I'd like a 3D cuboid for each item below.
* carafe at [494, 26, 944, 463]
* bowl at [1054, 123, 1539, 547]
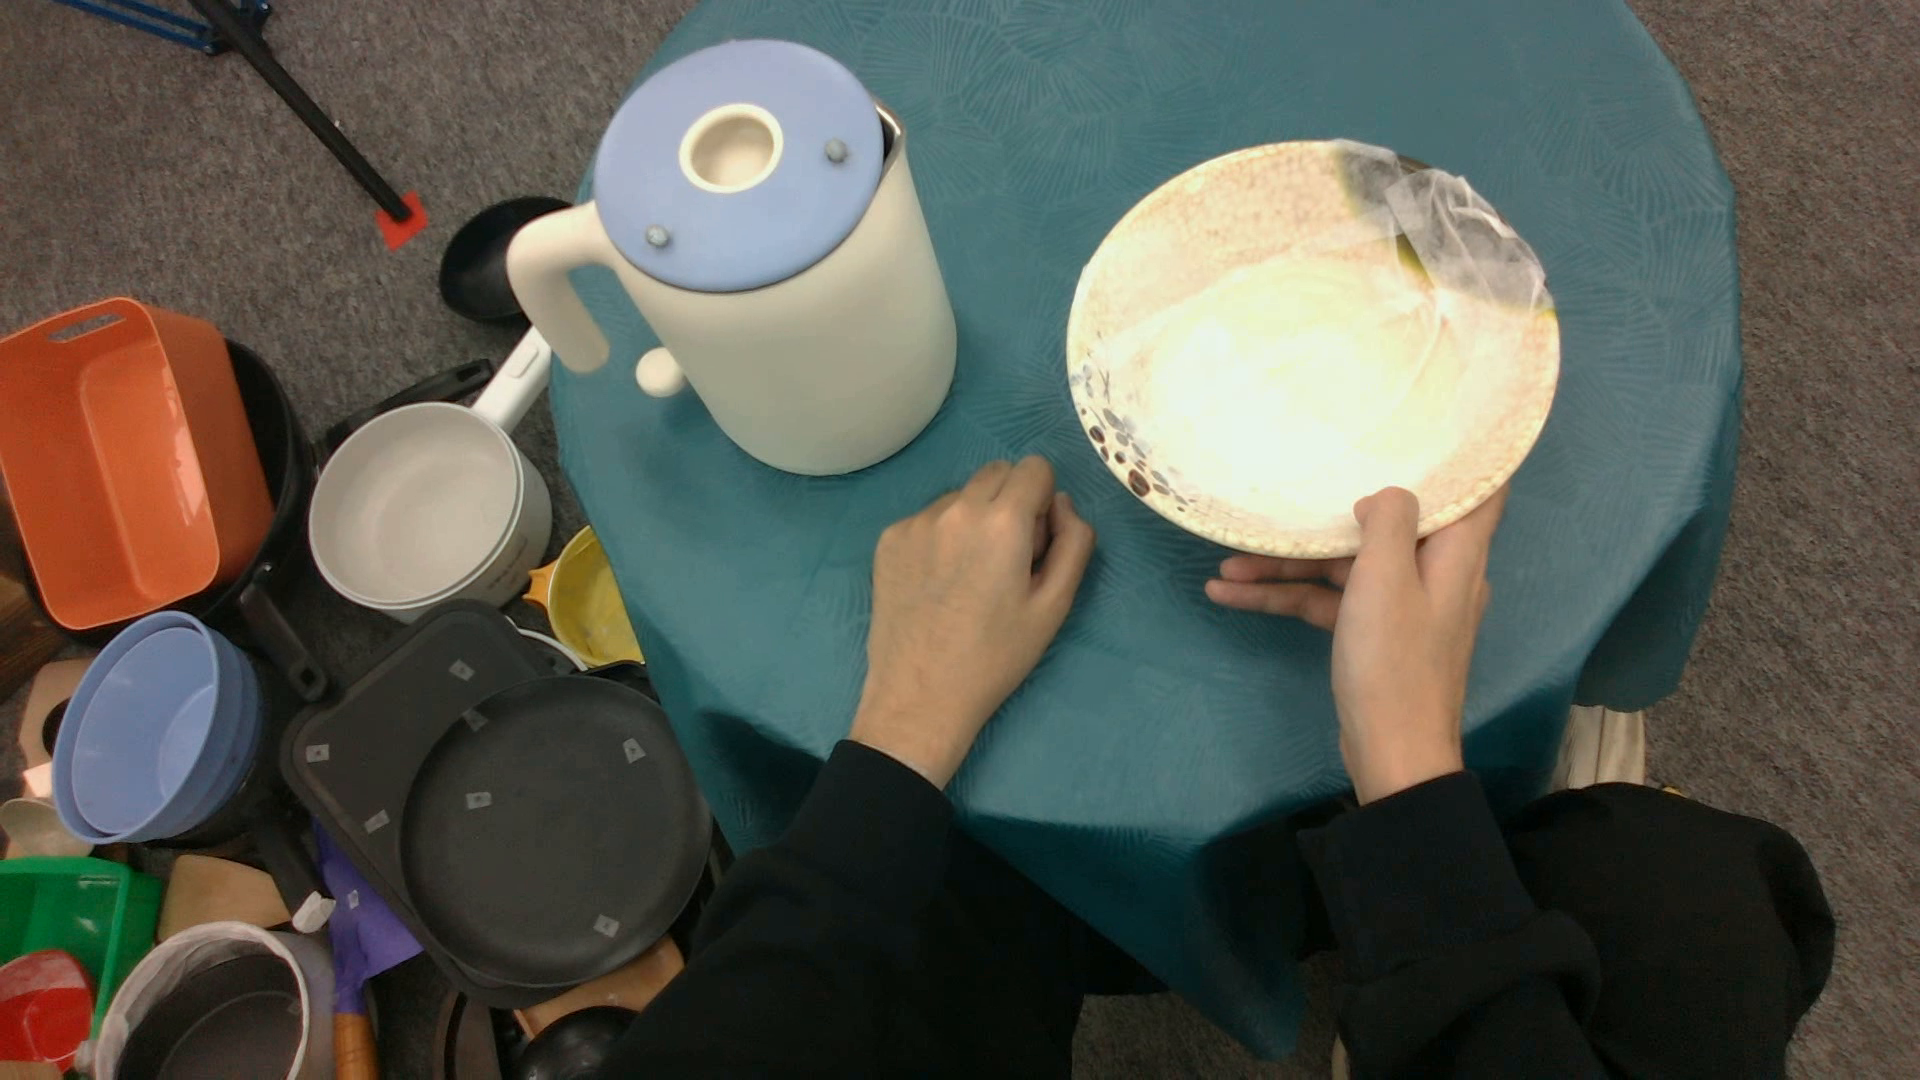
[{"bbox_3d":[-0.107,-0.120,0.624,0.191,0.182,0.132,-14,66,5],"label":"carafe"},{"bbox_3d":[0.147,-0.082,0.625,0.204,0.078,0.204,-3,70,9],"label":"bowl"}]
